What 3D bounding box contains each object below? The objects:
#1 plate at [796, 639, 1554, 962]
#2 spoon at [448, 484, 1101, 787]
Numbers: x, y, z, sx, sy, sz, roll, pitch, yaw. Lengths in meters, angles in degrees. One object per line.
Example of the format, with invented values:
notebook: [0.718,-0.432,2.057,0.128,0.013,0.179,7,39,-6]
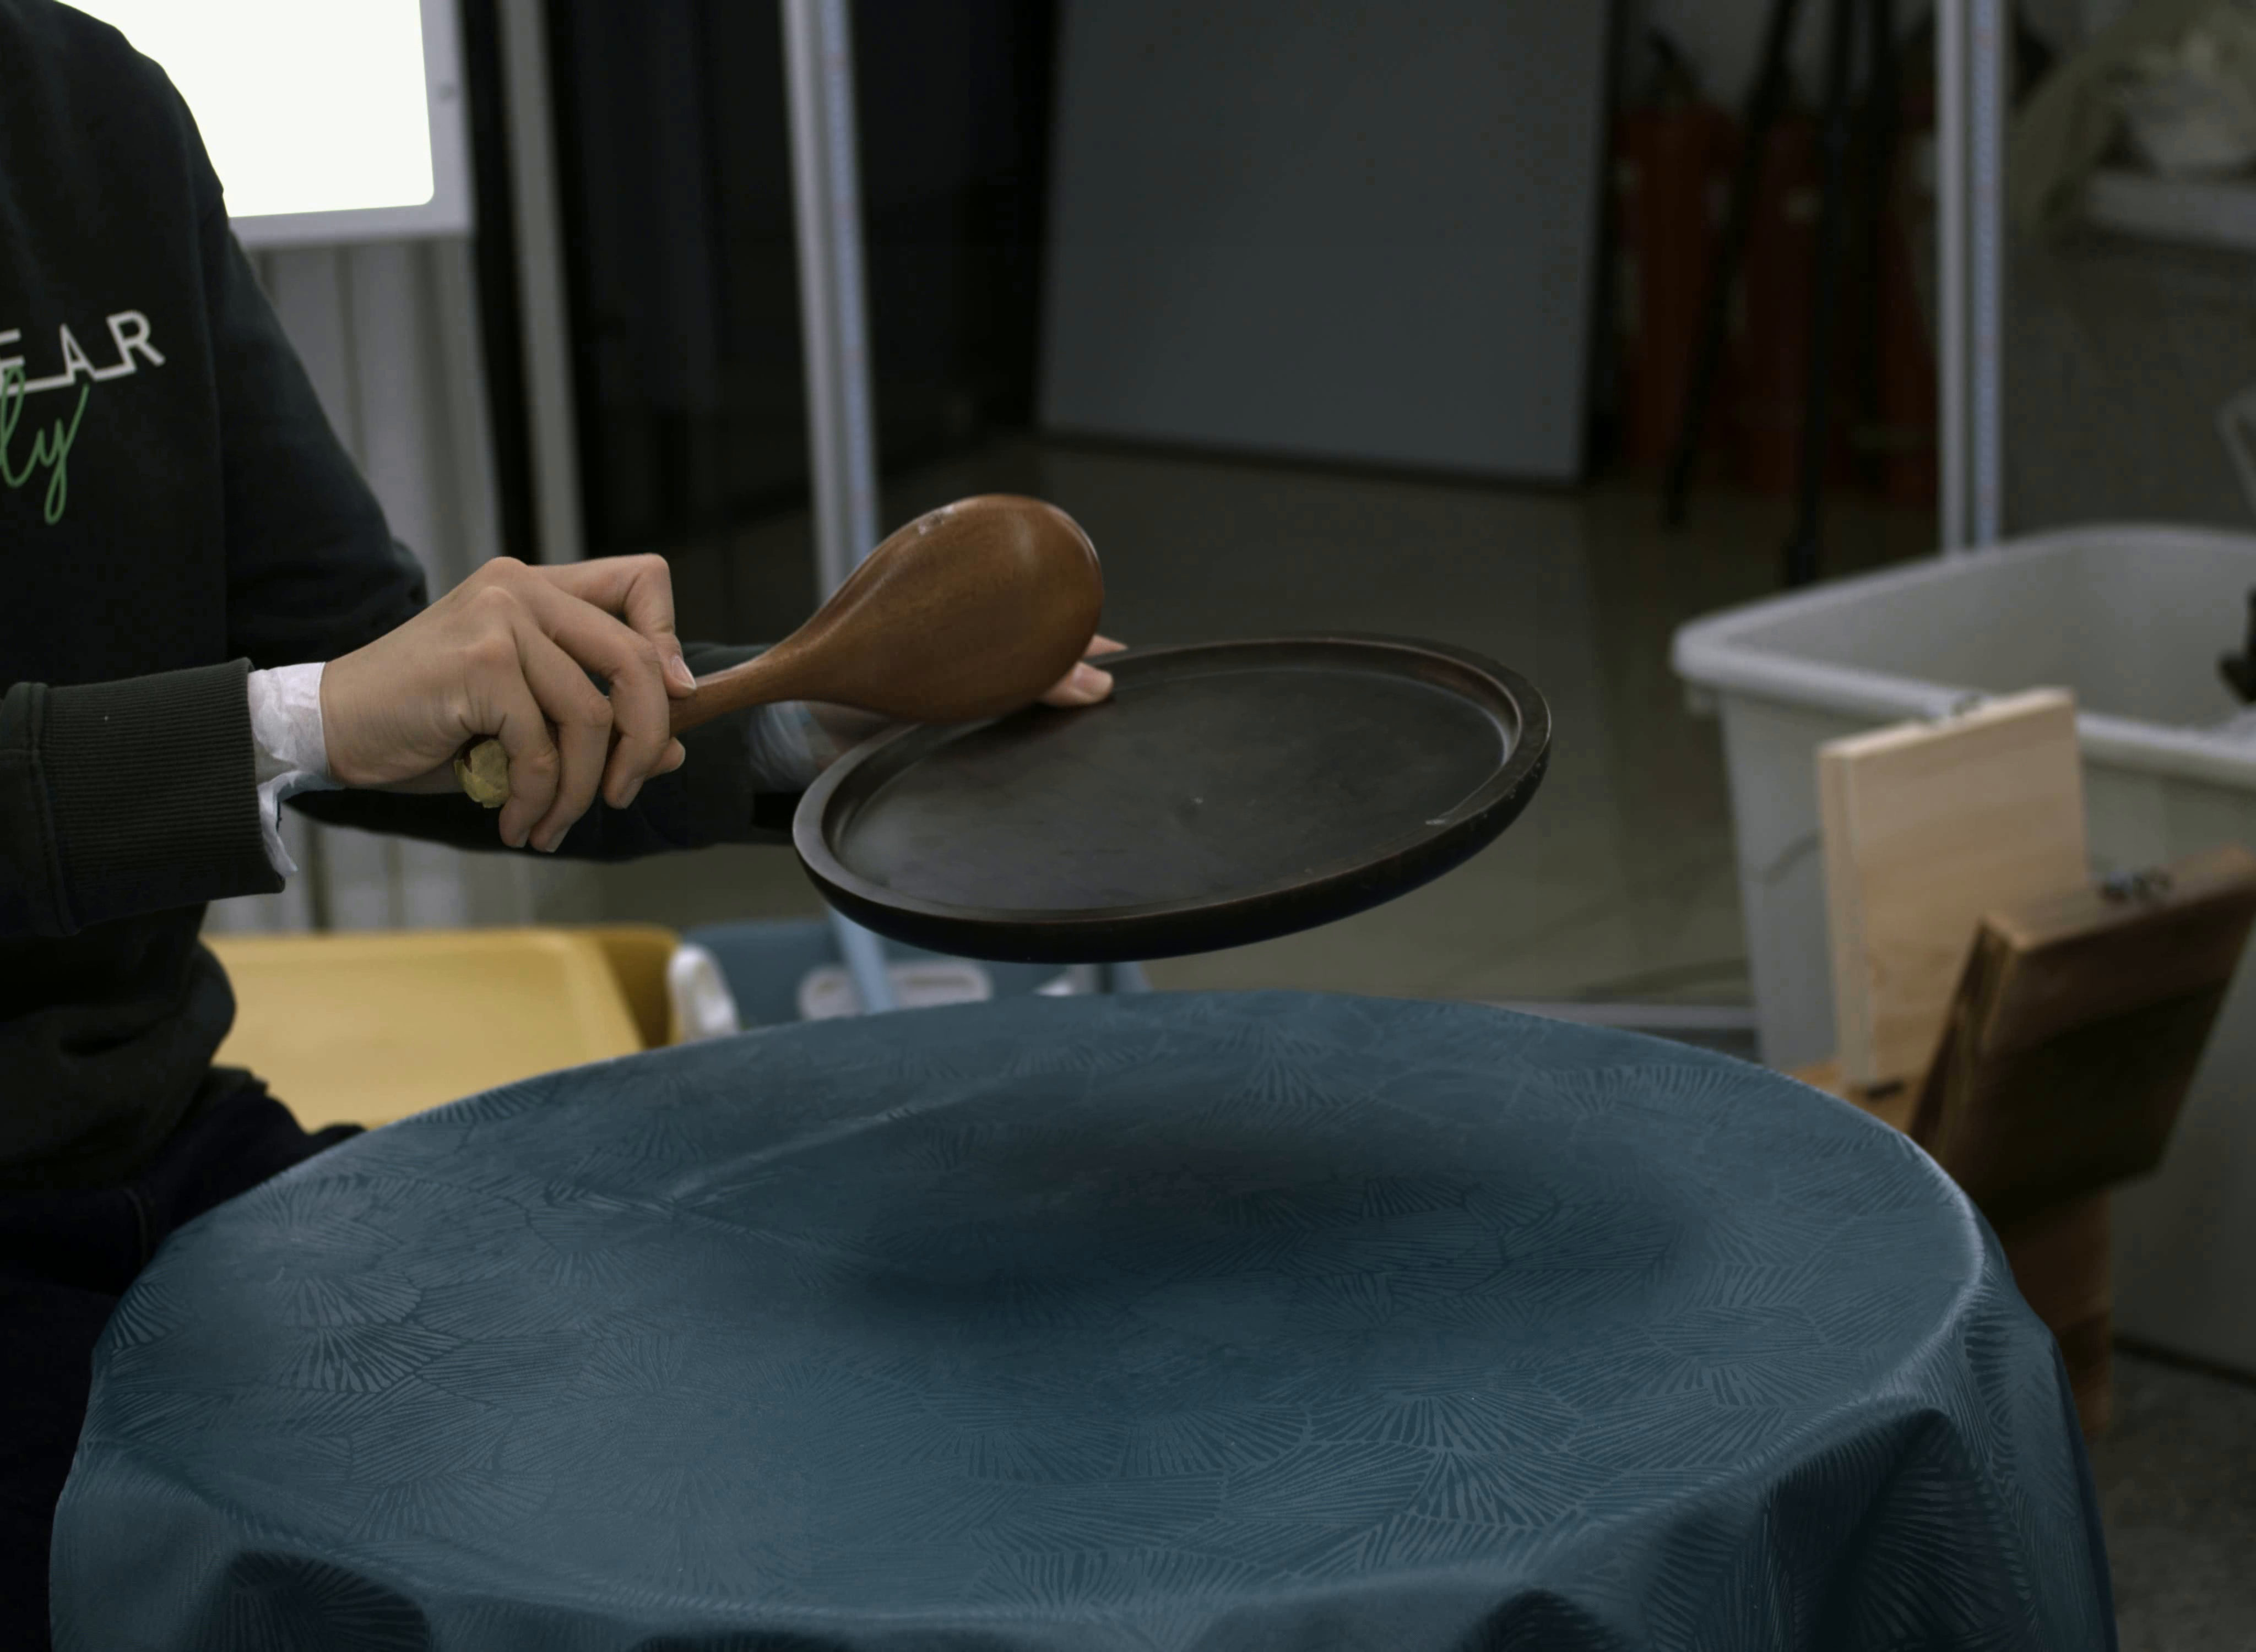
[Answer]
plate: [0.015,-0.011,1.762,0.252,0.029,0.255,-8,20,2]
spoon: [-0.105,-0.050,1.664,0.212,0.076,0.017,-16,23,-15]
